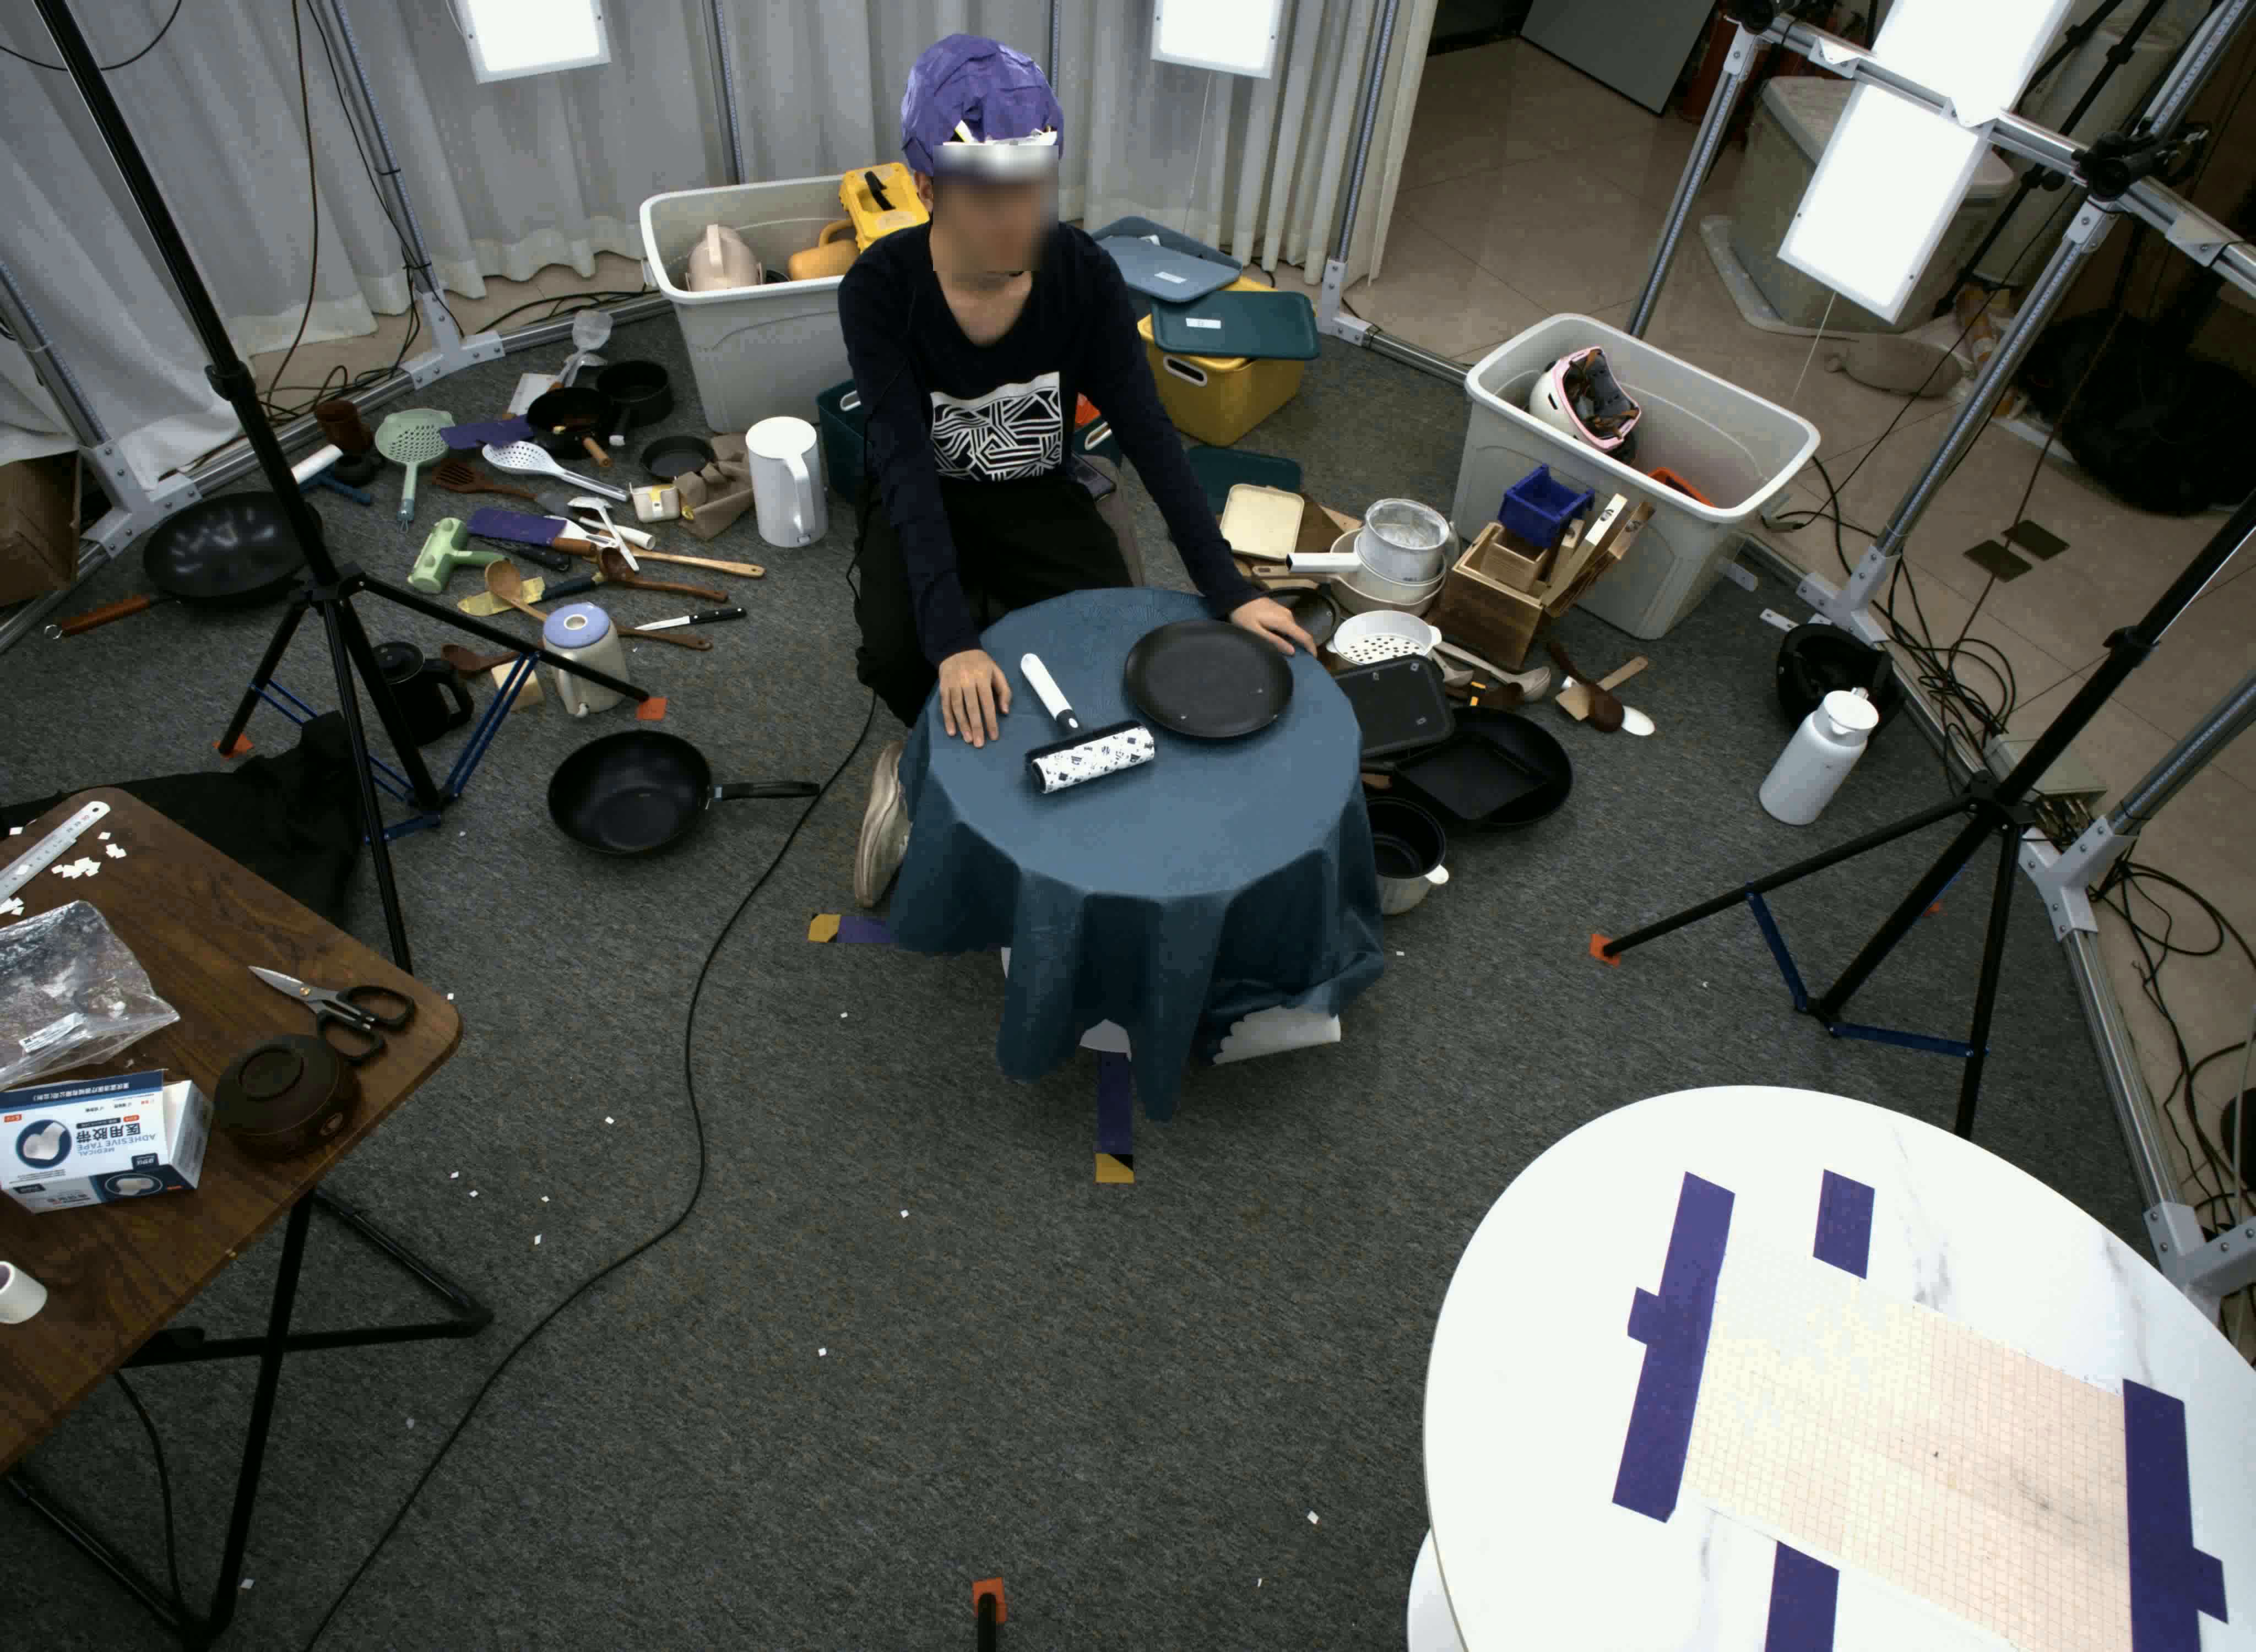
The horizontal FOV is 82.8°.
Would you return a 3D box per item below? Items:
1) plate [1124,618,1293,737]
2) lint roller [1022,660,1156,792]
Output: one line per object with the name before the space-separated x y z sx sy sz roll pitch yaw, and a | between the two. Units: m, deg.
plate | 0.114 -0.211 1.844 0.244 0.023 0.250 2 49 -2
lint roller | -0.093 -0.158 1.772 0.176 0.049 0.252 -20 50 -18
